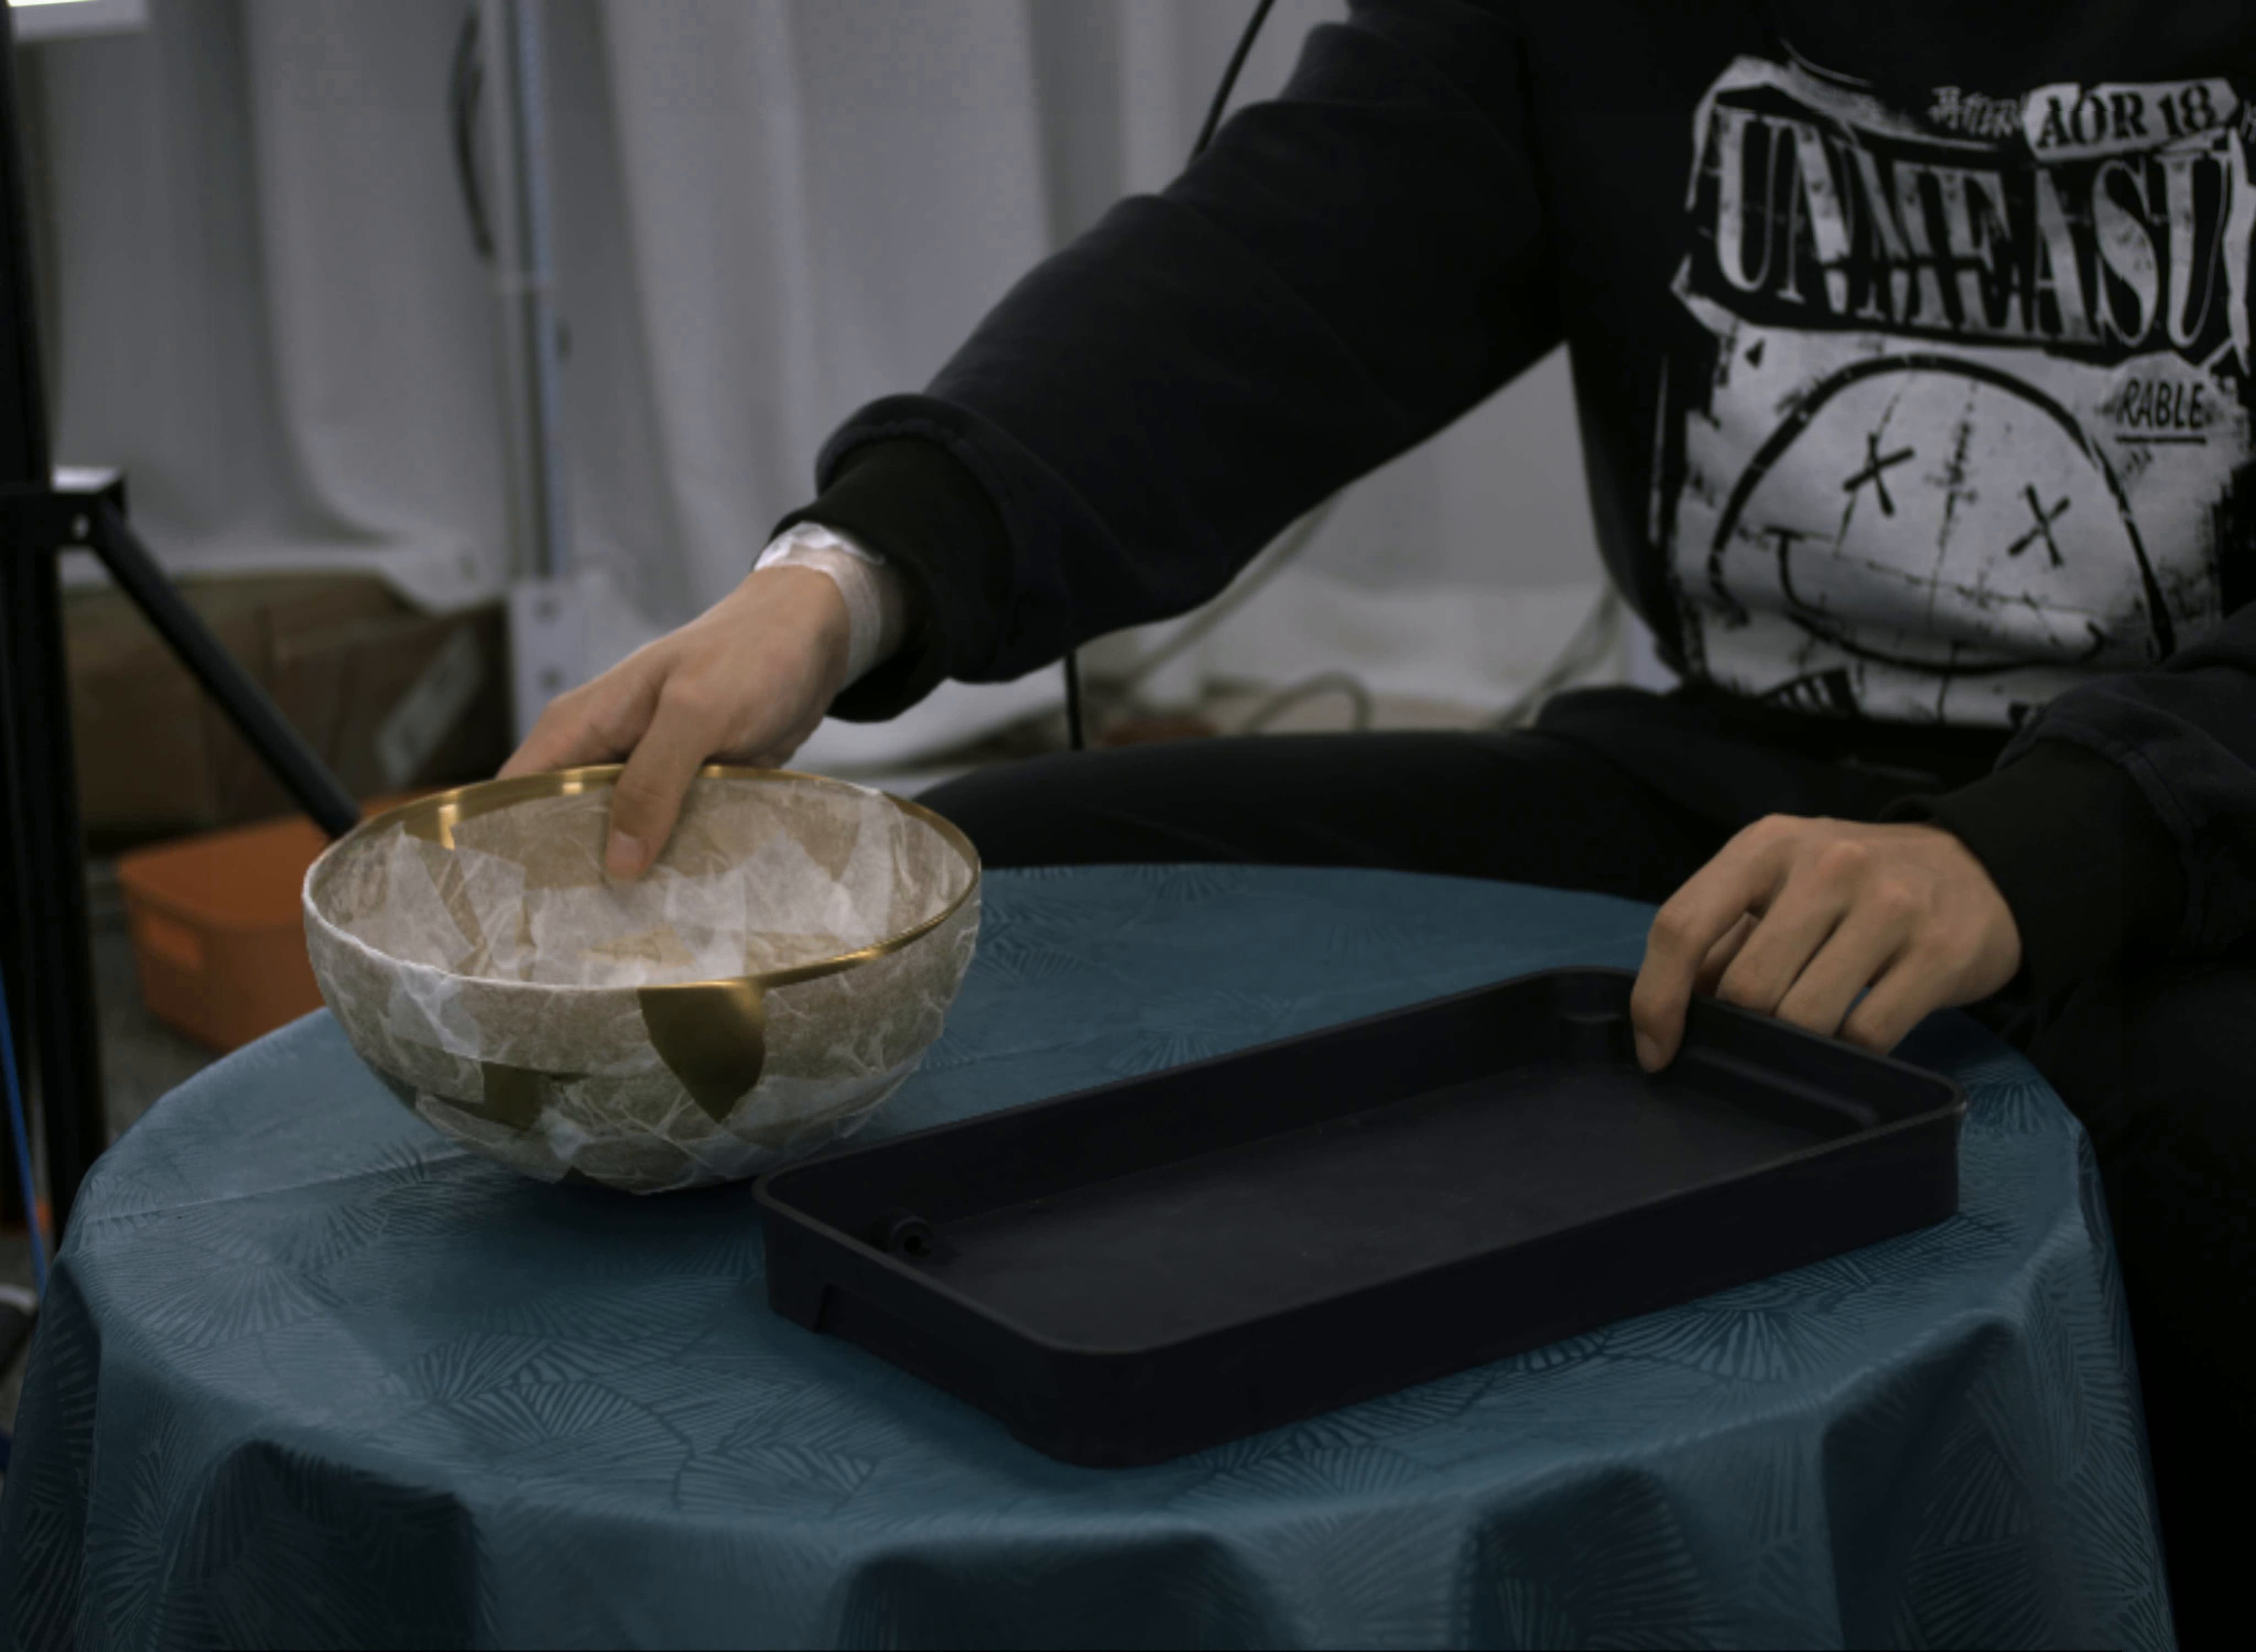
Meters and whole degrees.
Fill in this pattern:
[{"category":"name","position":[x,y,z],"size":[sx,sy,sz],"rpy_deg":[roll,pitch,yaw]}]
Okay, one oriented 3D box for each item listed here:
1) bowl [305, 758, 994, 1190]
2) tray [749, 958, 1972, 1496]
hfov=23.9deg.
[{"category":"bowl","position":[-0.139,0.054,1.599],"size":[0.213,0.094,0.216],"rpy_deg":[-2,18,-1]},{"category":"tray","position":[0.068,0.107,1.495],"size":[0.311,0.037,0.188],"rpy_deg":[-14,20,-30]}]
